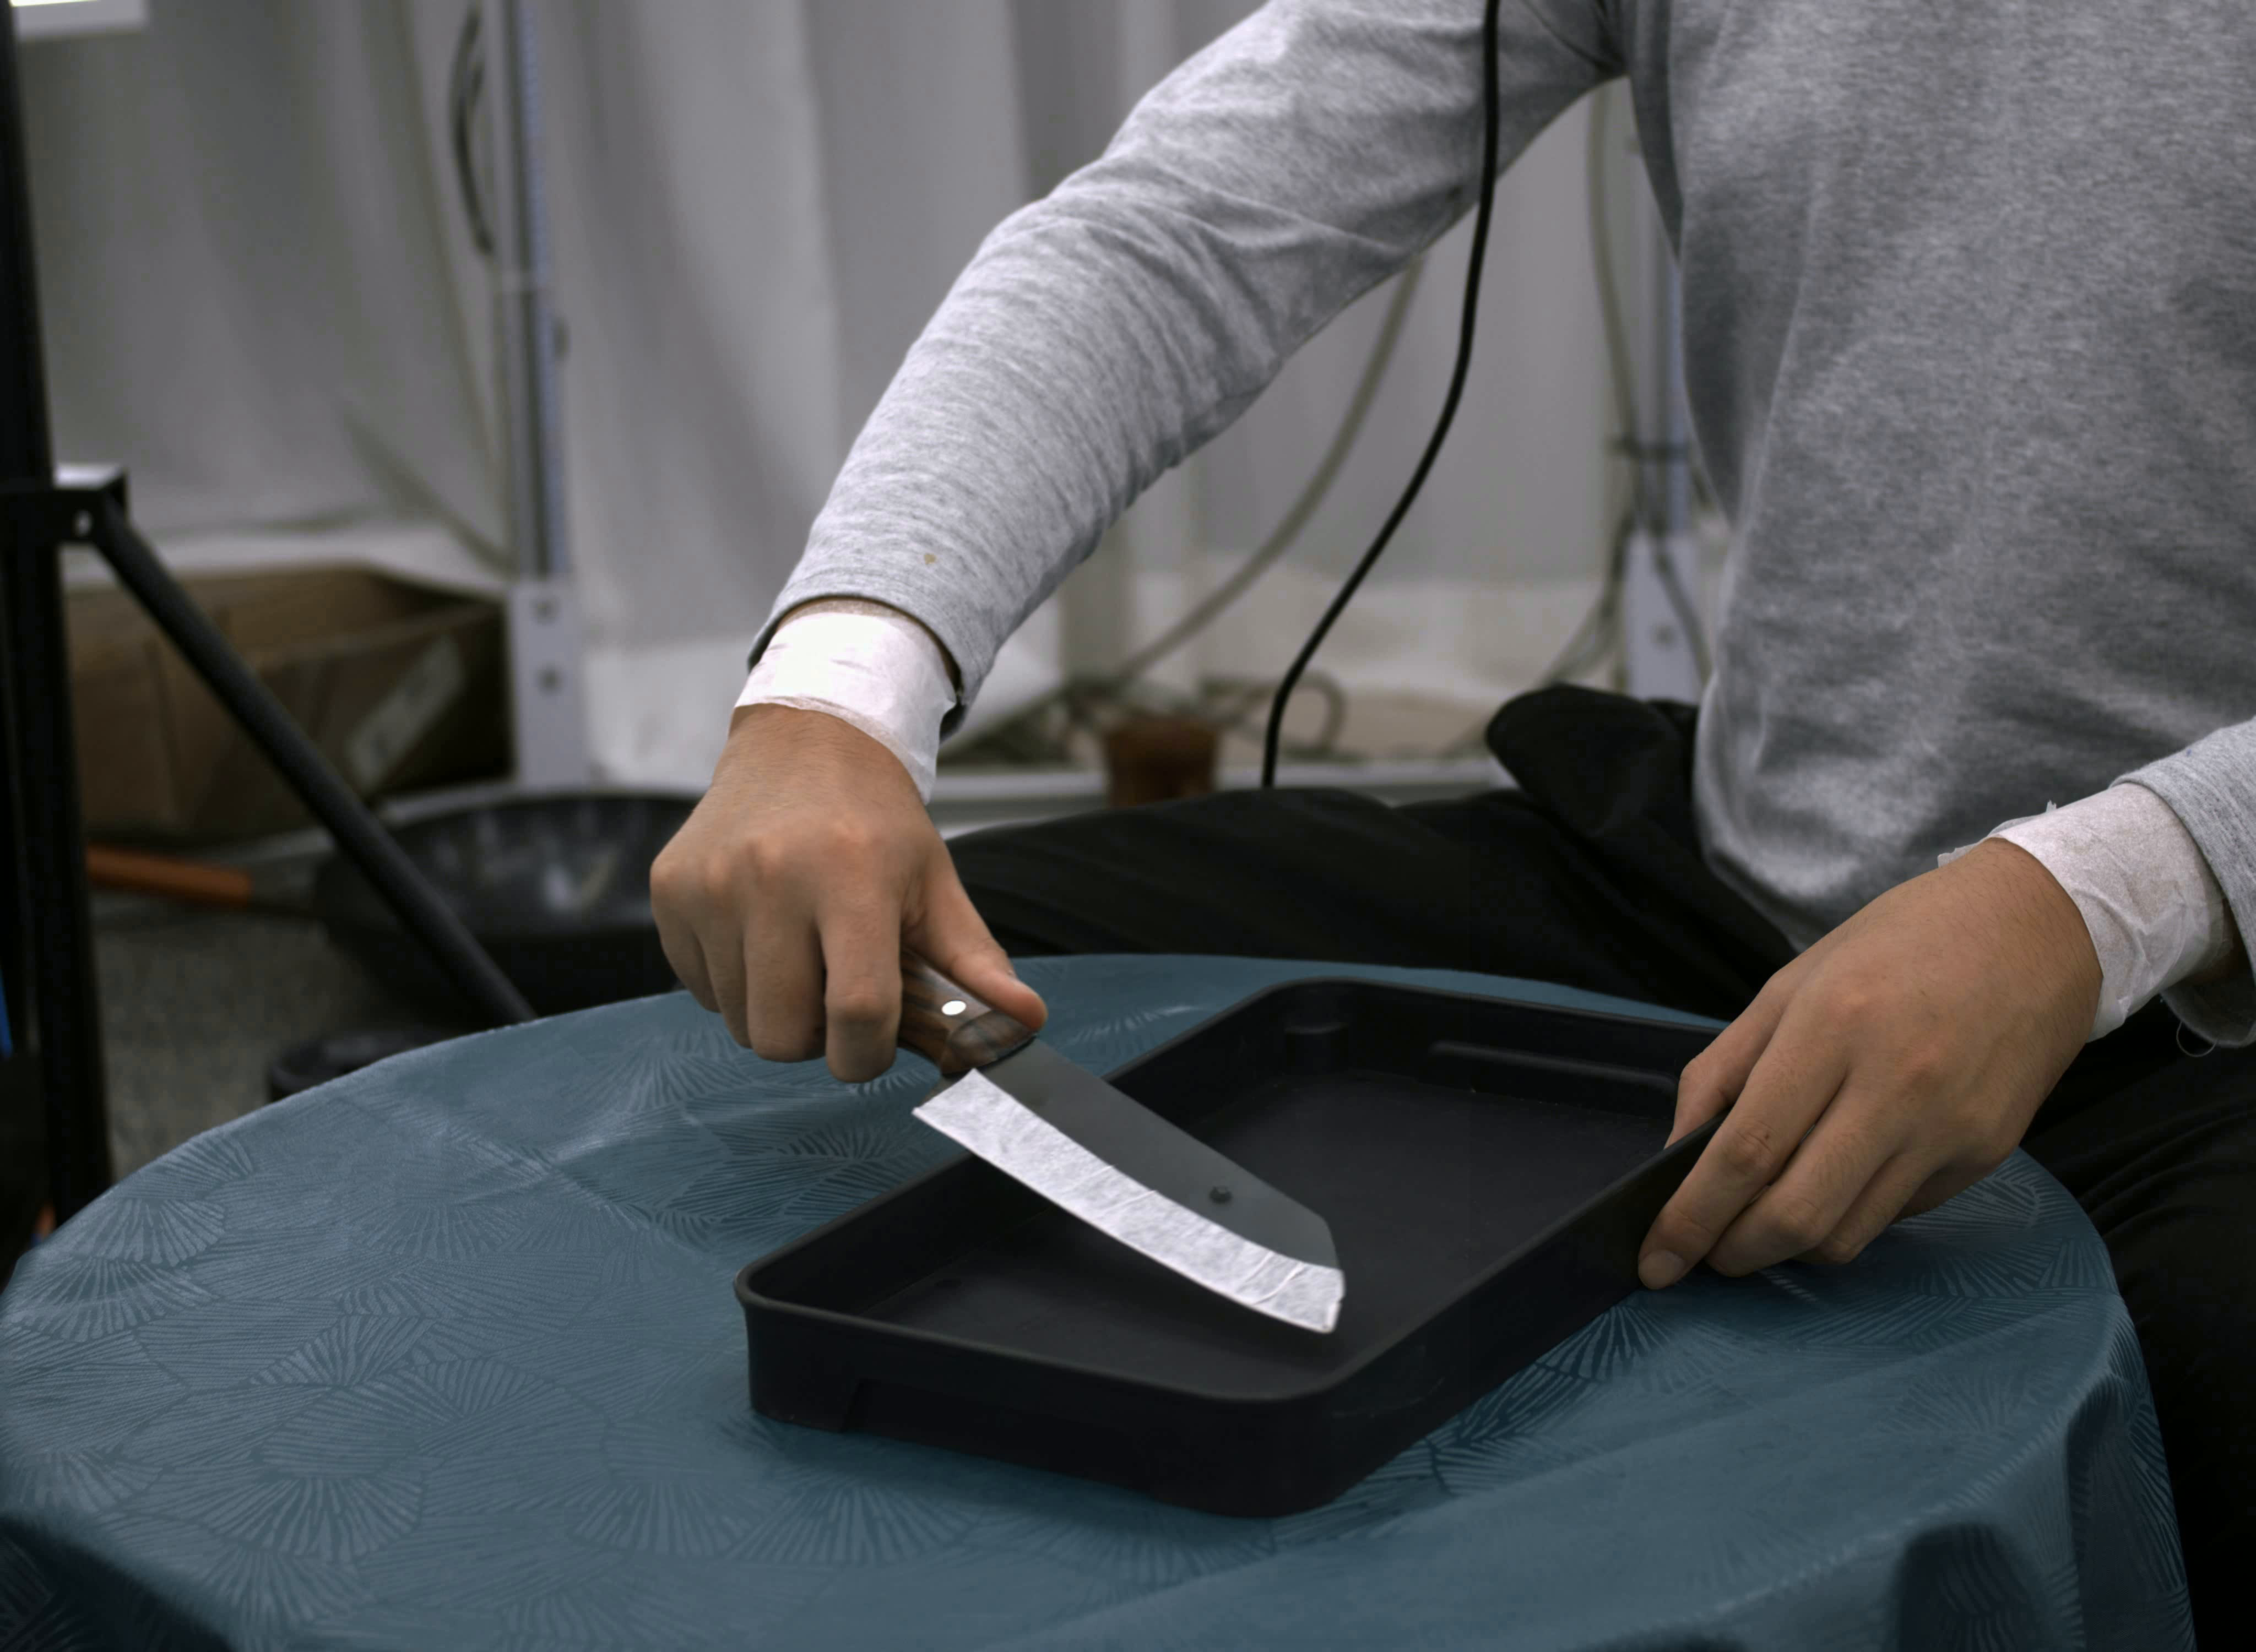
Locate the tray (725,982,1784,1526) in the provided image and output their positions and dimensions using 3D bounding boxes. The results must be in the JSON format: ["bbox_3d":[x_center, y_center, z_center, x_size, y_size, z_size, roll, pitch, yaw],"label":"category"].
[{"bbox_3d":[0.043,0.111,1.477,0.187,0.037,0.312,7,18,30],"label":"tray"}]

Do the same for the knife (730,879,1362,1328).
[{"bbox_3d":[-0.027,0.078,1.518,0.049,0.020,0.296,-33,39,-23],"label":"knife"}]
